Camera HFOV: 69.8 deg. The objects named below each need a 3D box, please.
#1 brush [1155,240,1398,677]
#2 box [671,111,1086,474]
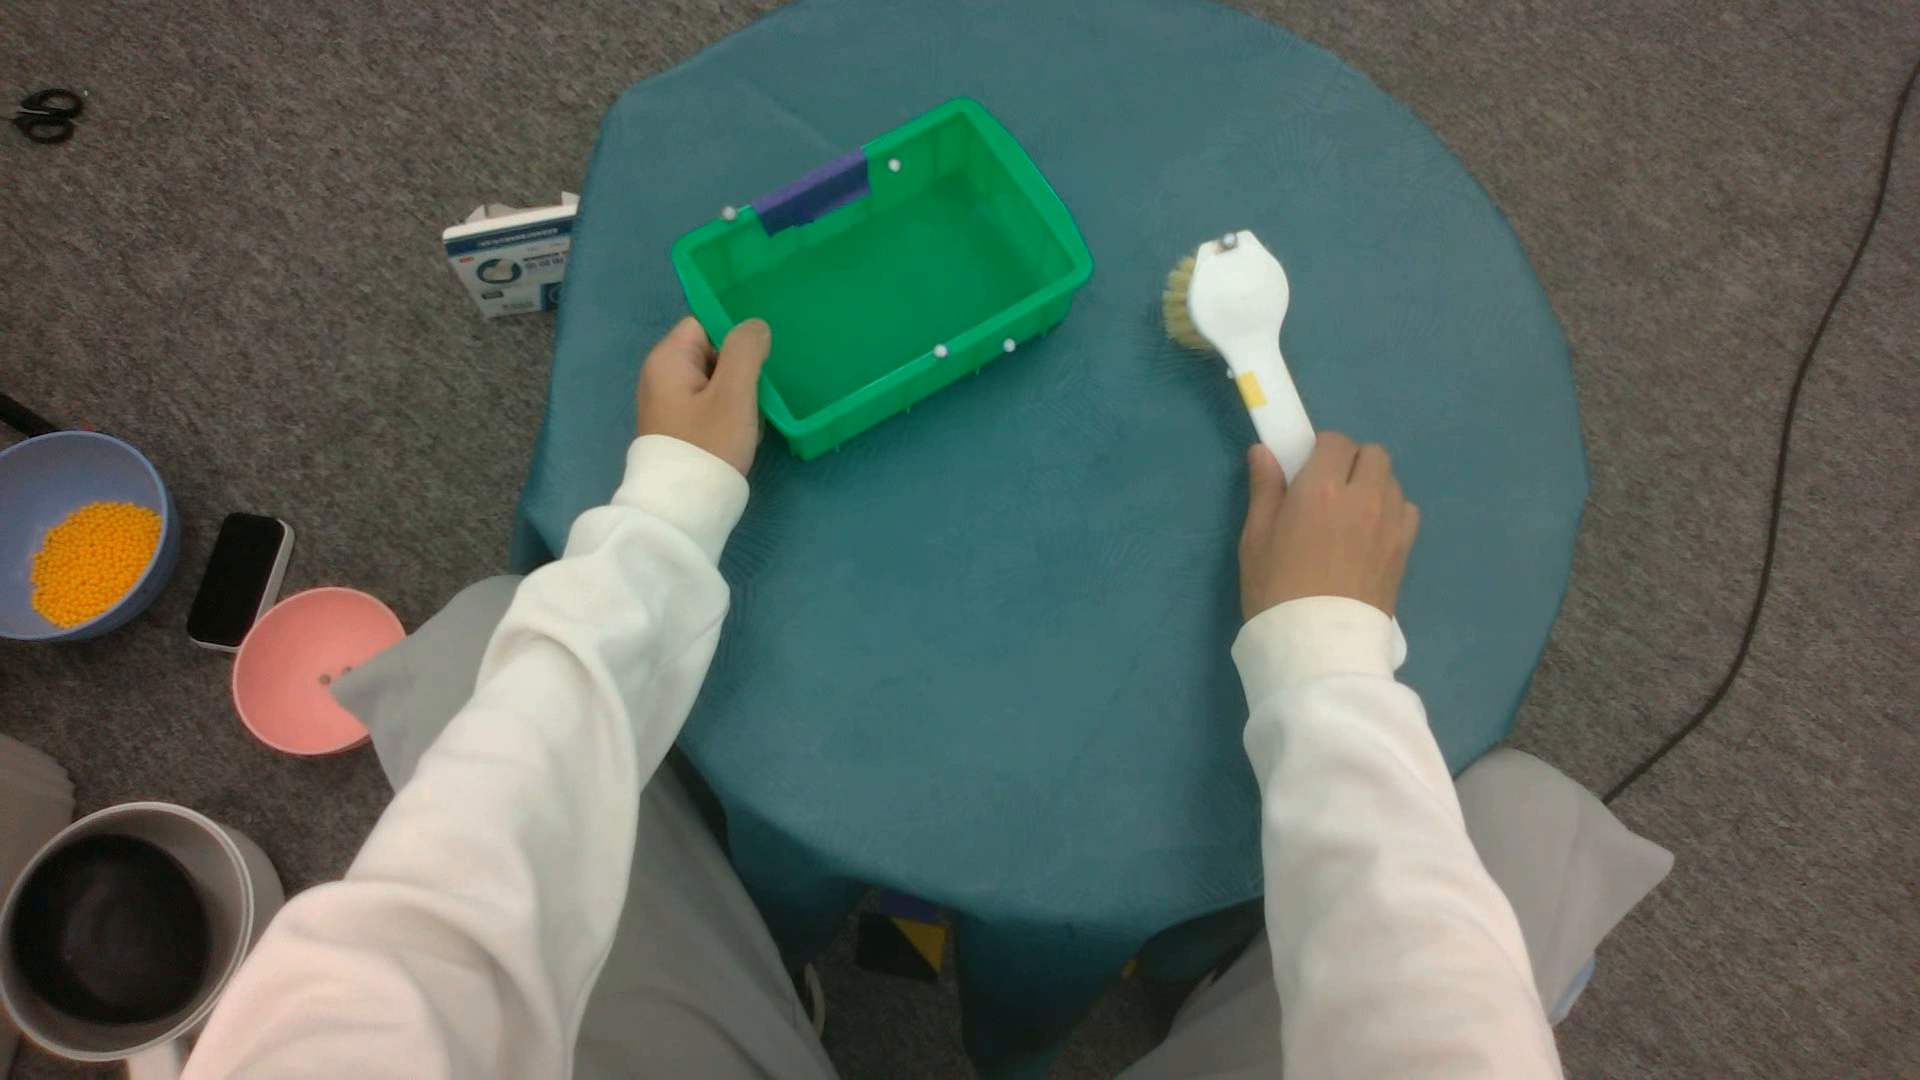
[{"bbox_3d":[0.185,-0.048,0.794,0.068,0.056,0.266,-22,88,2],"label":"brush"},{"bbox_3d":[-0.045,-0.139,0.798,0.211,0.065,0.139,-33,74,-10],"label":"box"}]
